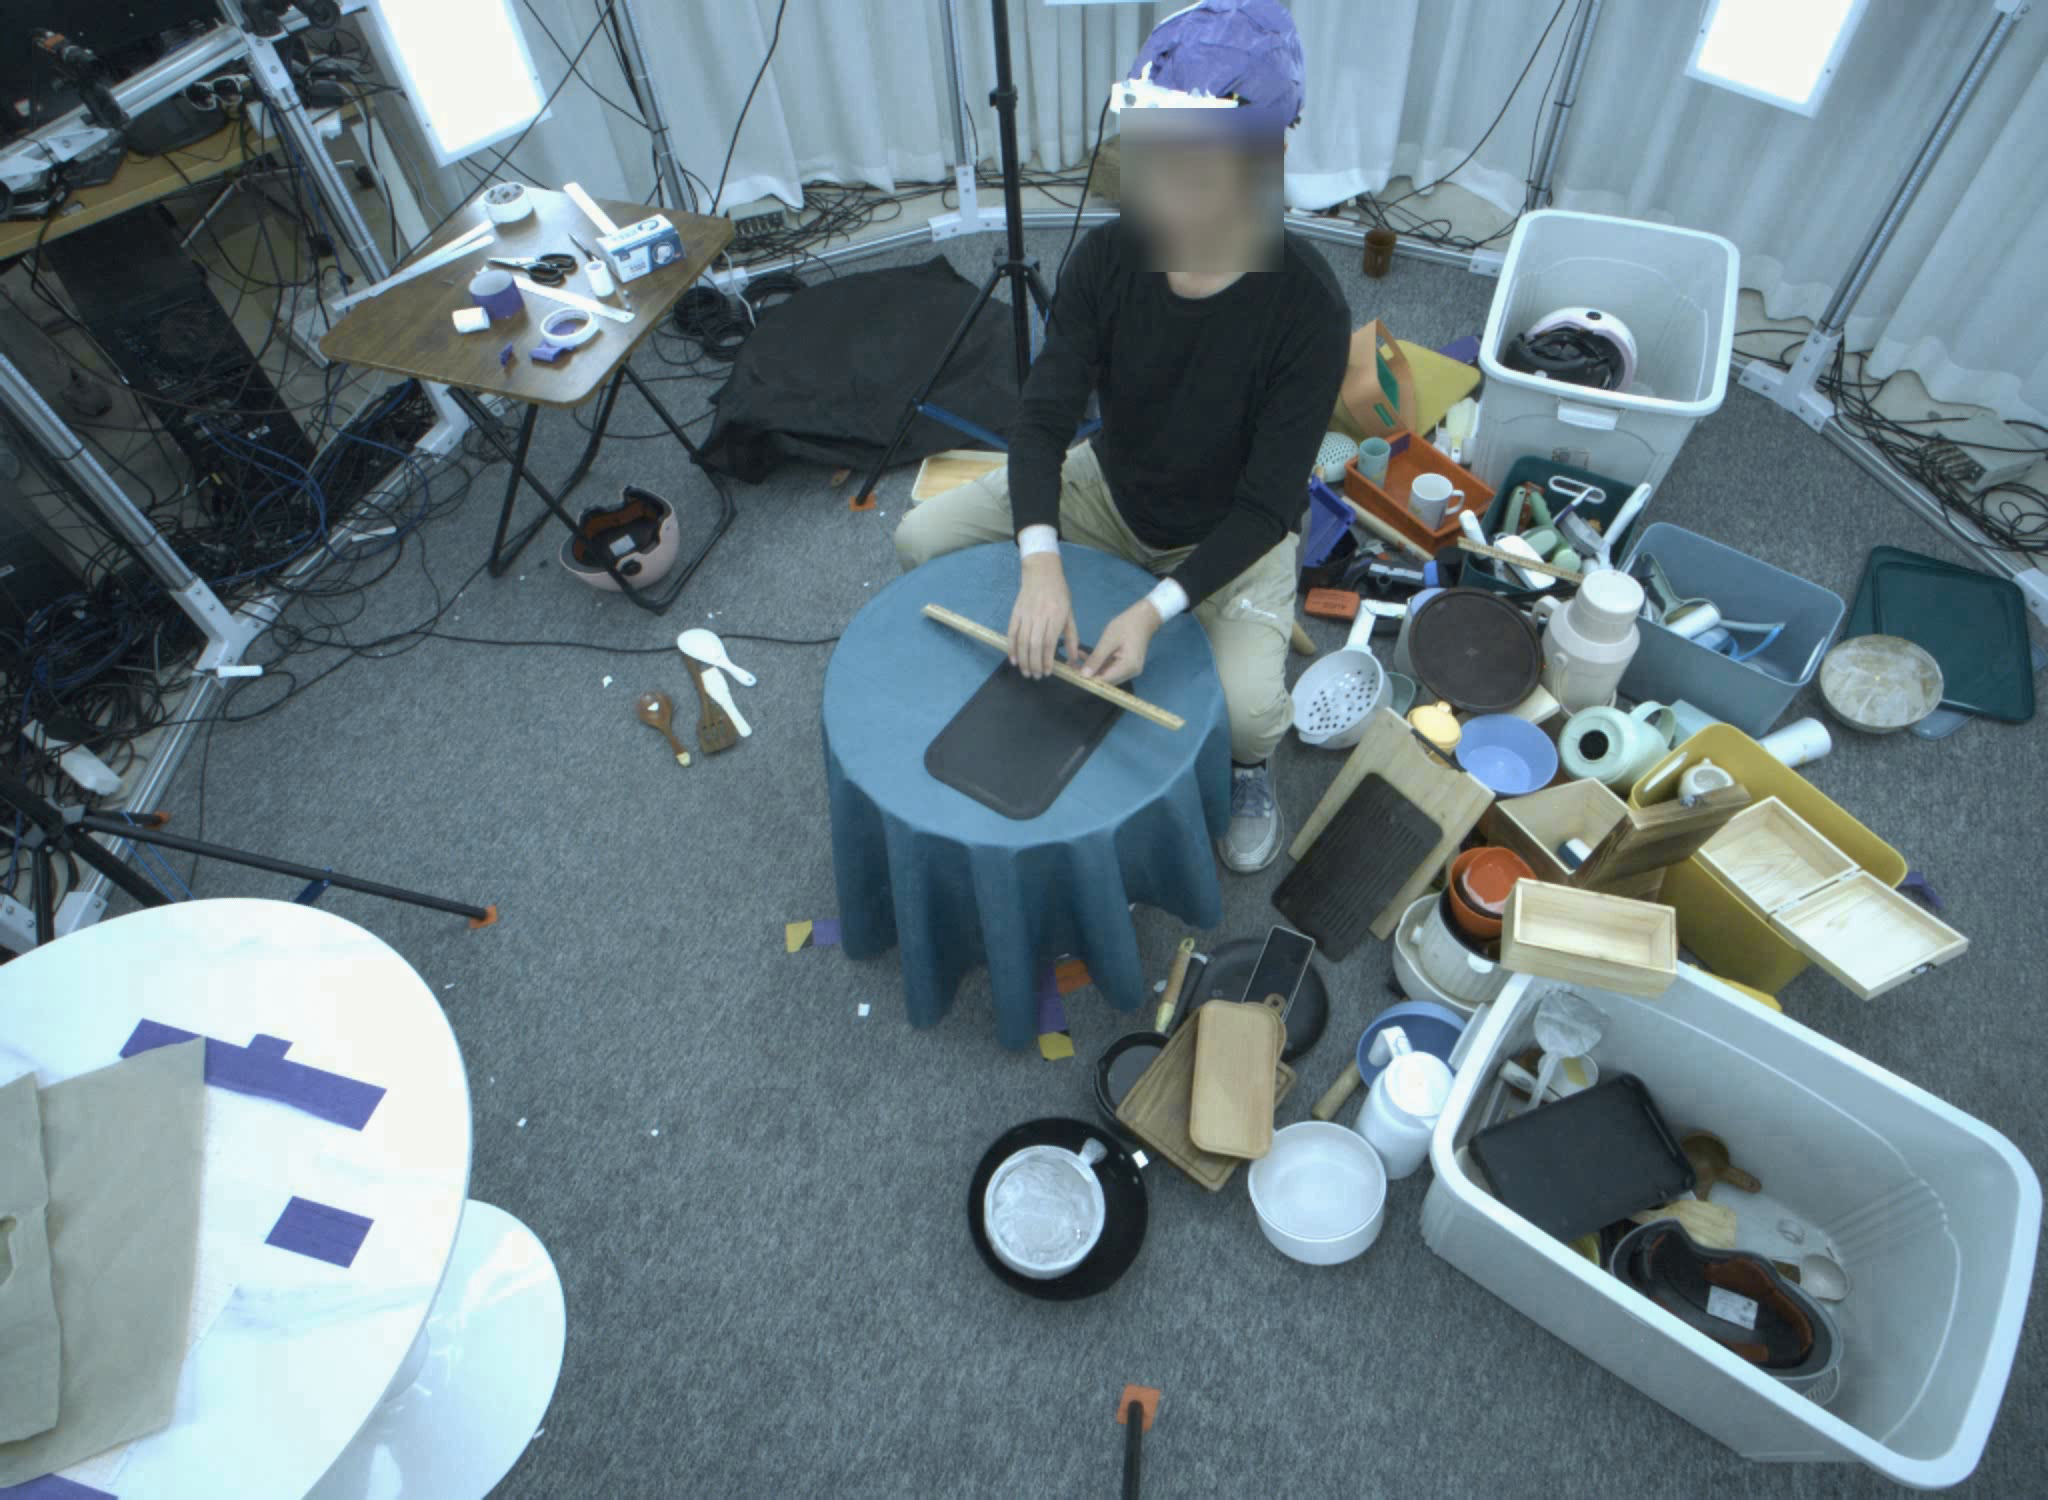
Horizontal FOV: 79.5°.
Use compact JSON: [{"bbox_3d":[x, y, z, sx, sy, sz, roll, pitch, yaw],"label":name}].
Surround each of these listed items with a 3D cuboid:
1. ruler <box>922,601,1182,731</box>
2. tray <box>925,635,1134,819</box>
[{"bbox_3d":[0.028,-0.132,1.811,0.490,0.006,0.027,29,46,32],"label":"ruler"},{"bbox_3d":[0.015,-0.047,1.815,0.208,0.010,0.327,29,61,20],"label":"tray"}]
